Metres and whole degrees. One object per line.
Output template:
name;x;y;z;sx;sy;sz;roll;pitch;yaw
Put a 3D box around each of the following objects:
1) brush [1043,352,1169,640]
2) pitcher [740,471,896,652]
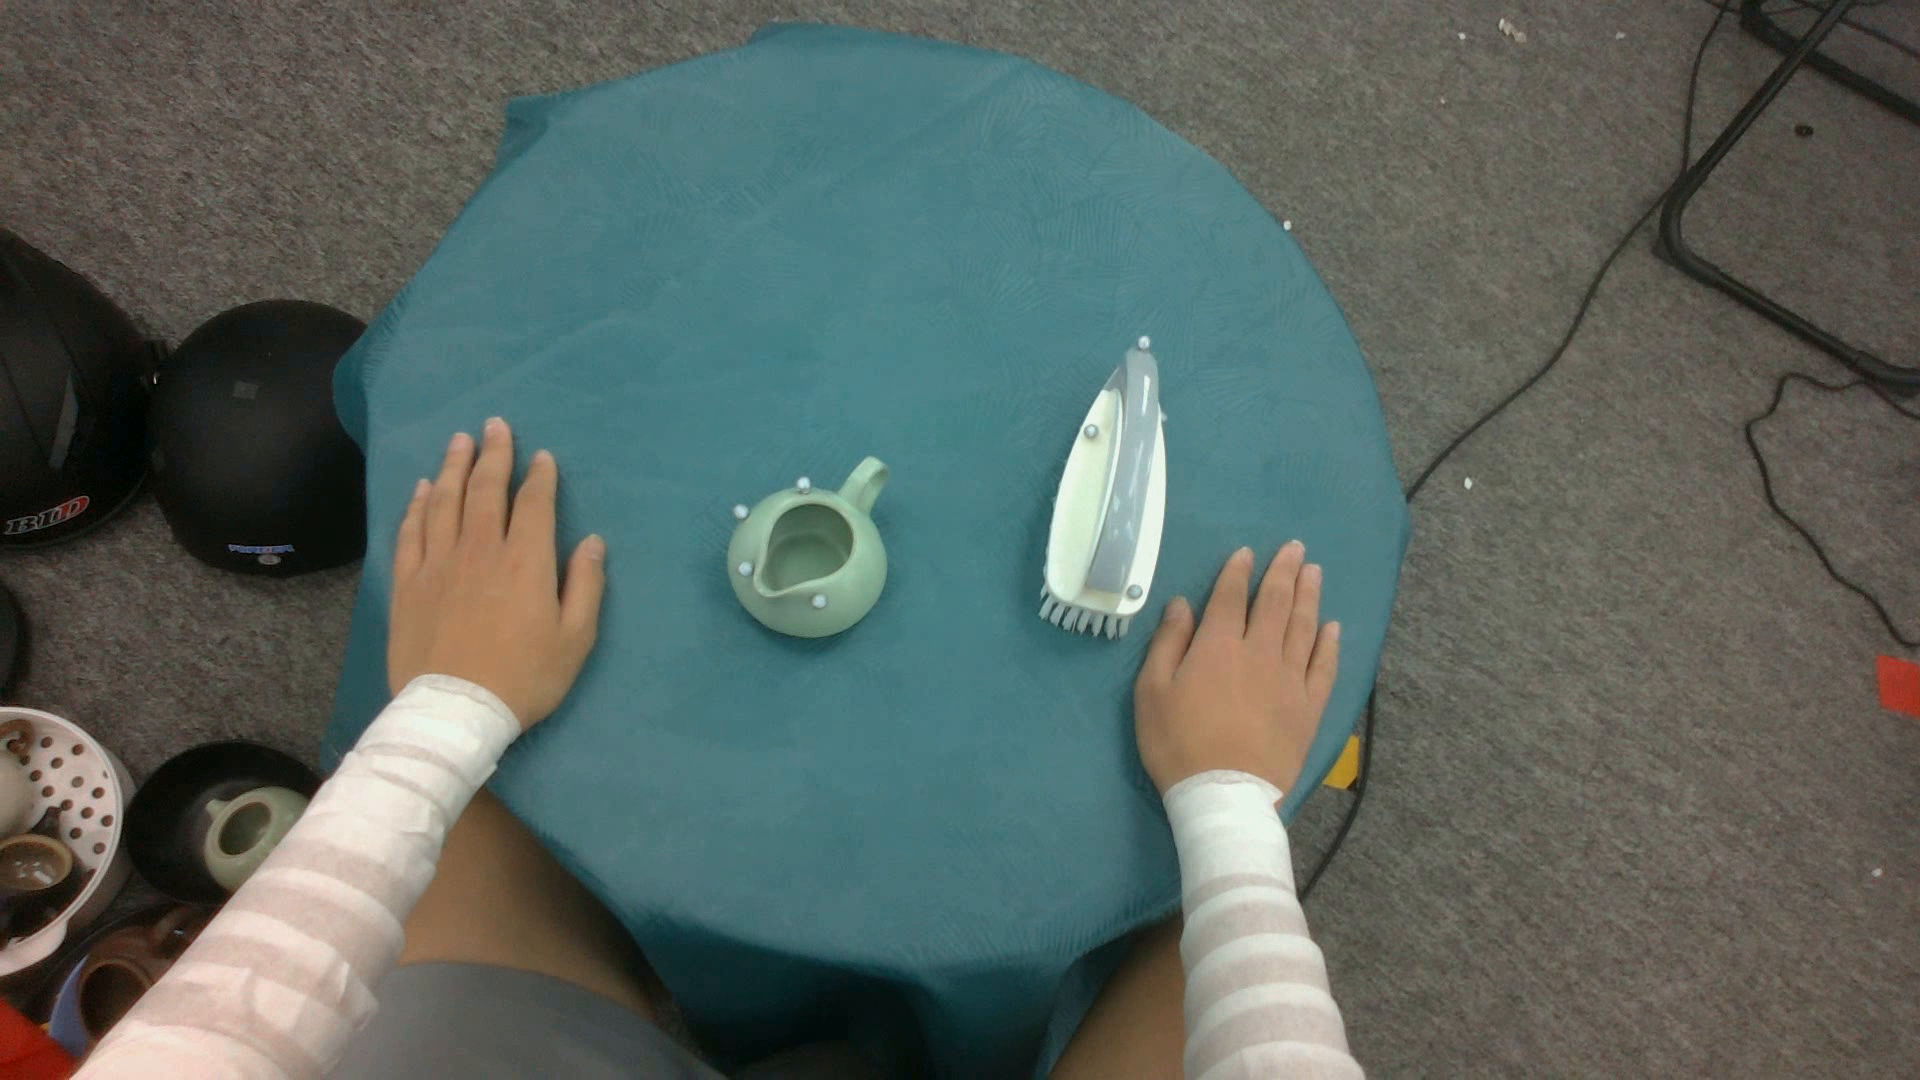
brush;0.092;-0.040;0.779;0.061;0.094;0.176;14;64;-5
pitcher;-0.070;0.008;0.754;0.086;0.060;0.108;32;64;6
